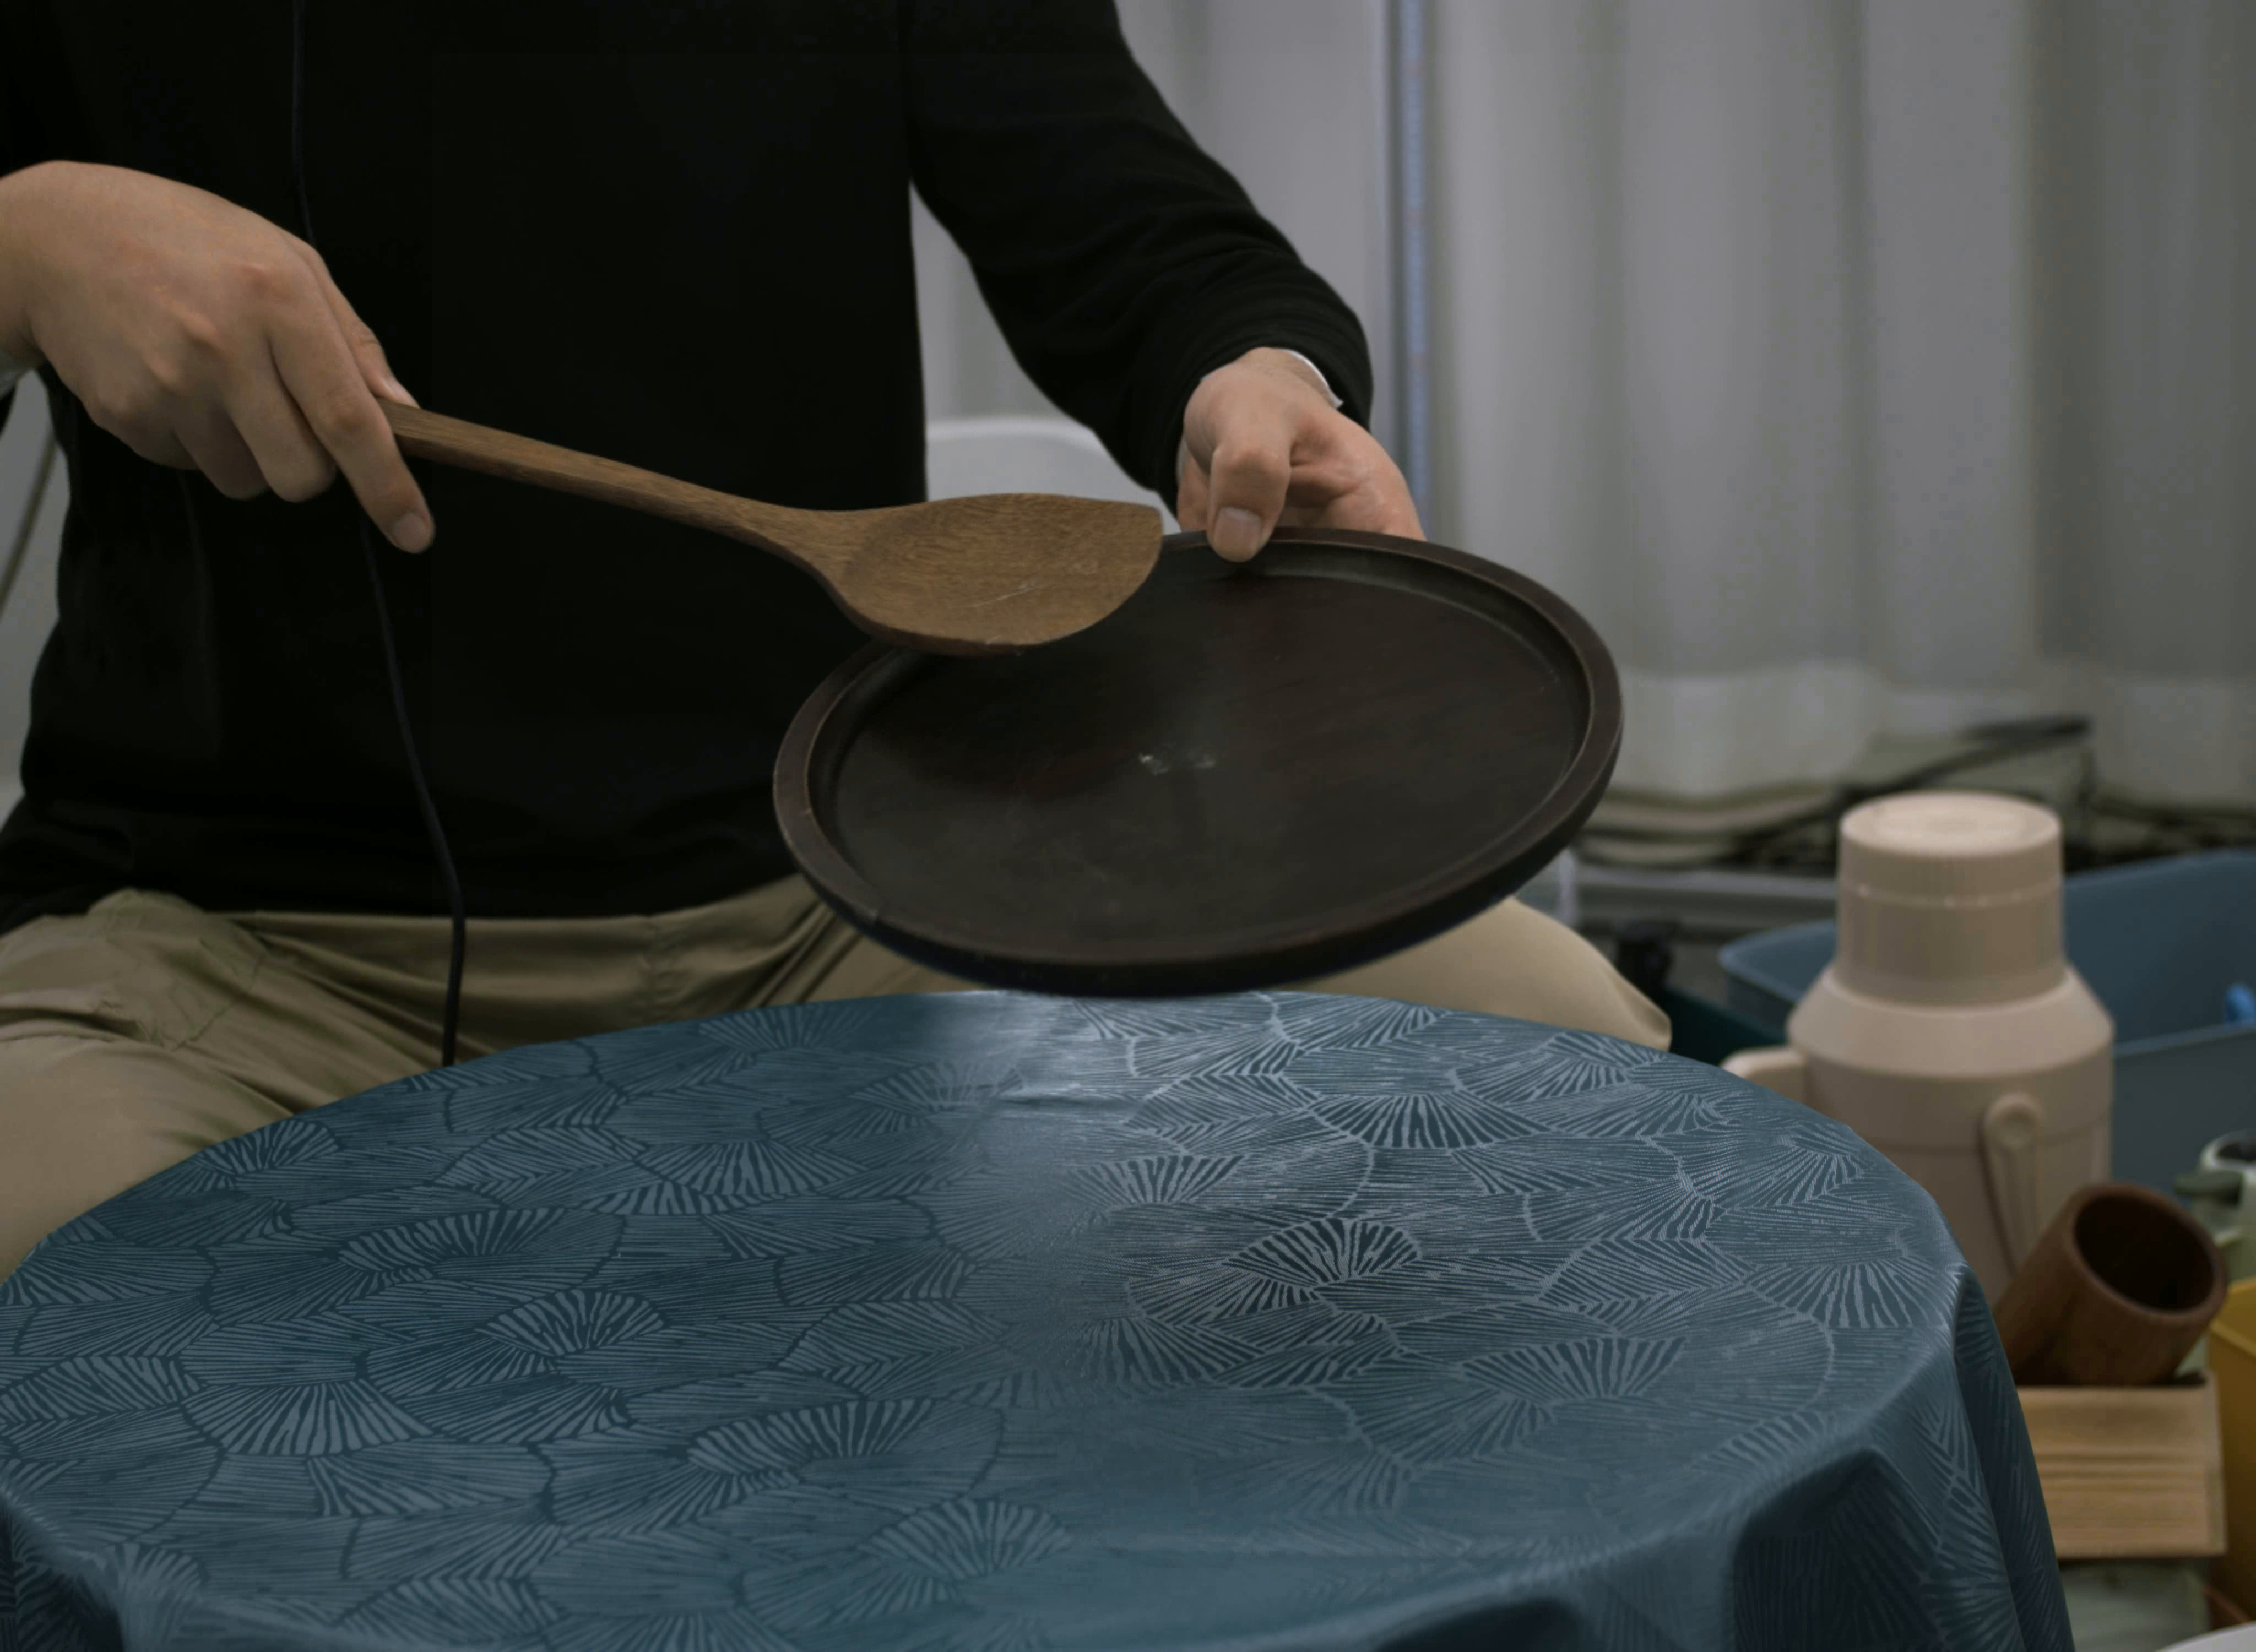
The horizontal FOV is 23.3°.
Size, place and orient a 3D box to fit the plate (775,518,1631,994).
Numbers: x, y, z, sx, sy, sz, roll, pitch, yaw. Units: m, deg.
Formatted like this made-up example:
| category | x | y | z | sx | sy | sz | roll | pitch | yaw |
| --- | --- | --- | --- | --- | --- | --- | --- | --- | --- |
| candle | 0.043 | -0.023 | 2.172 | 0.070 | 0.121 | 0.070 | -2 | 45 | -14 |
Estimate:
| category | x | y | z | sx | sy | sz | roll | pitch | yaw |
| --- | --- | --- | --- | --- | --- | --- | --- | --- | --- |
| plate | 0.022 | -0.022 | 1.608 | 0.254 | 0.029 | 0.258 | -7 | 30 | 4 |

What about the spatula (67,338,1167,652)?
| category | x | y | z | sx | sy | sz | roll | pitch | yaw |
| --- | --- | --- | --- | --- | --- | --- | --- | --- | --- |
| spatula | -0.170 | -0.110 | 1.714 | 0.387 | 0.015 | 0.097 | 14 | 36 | 22 |
